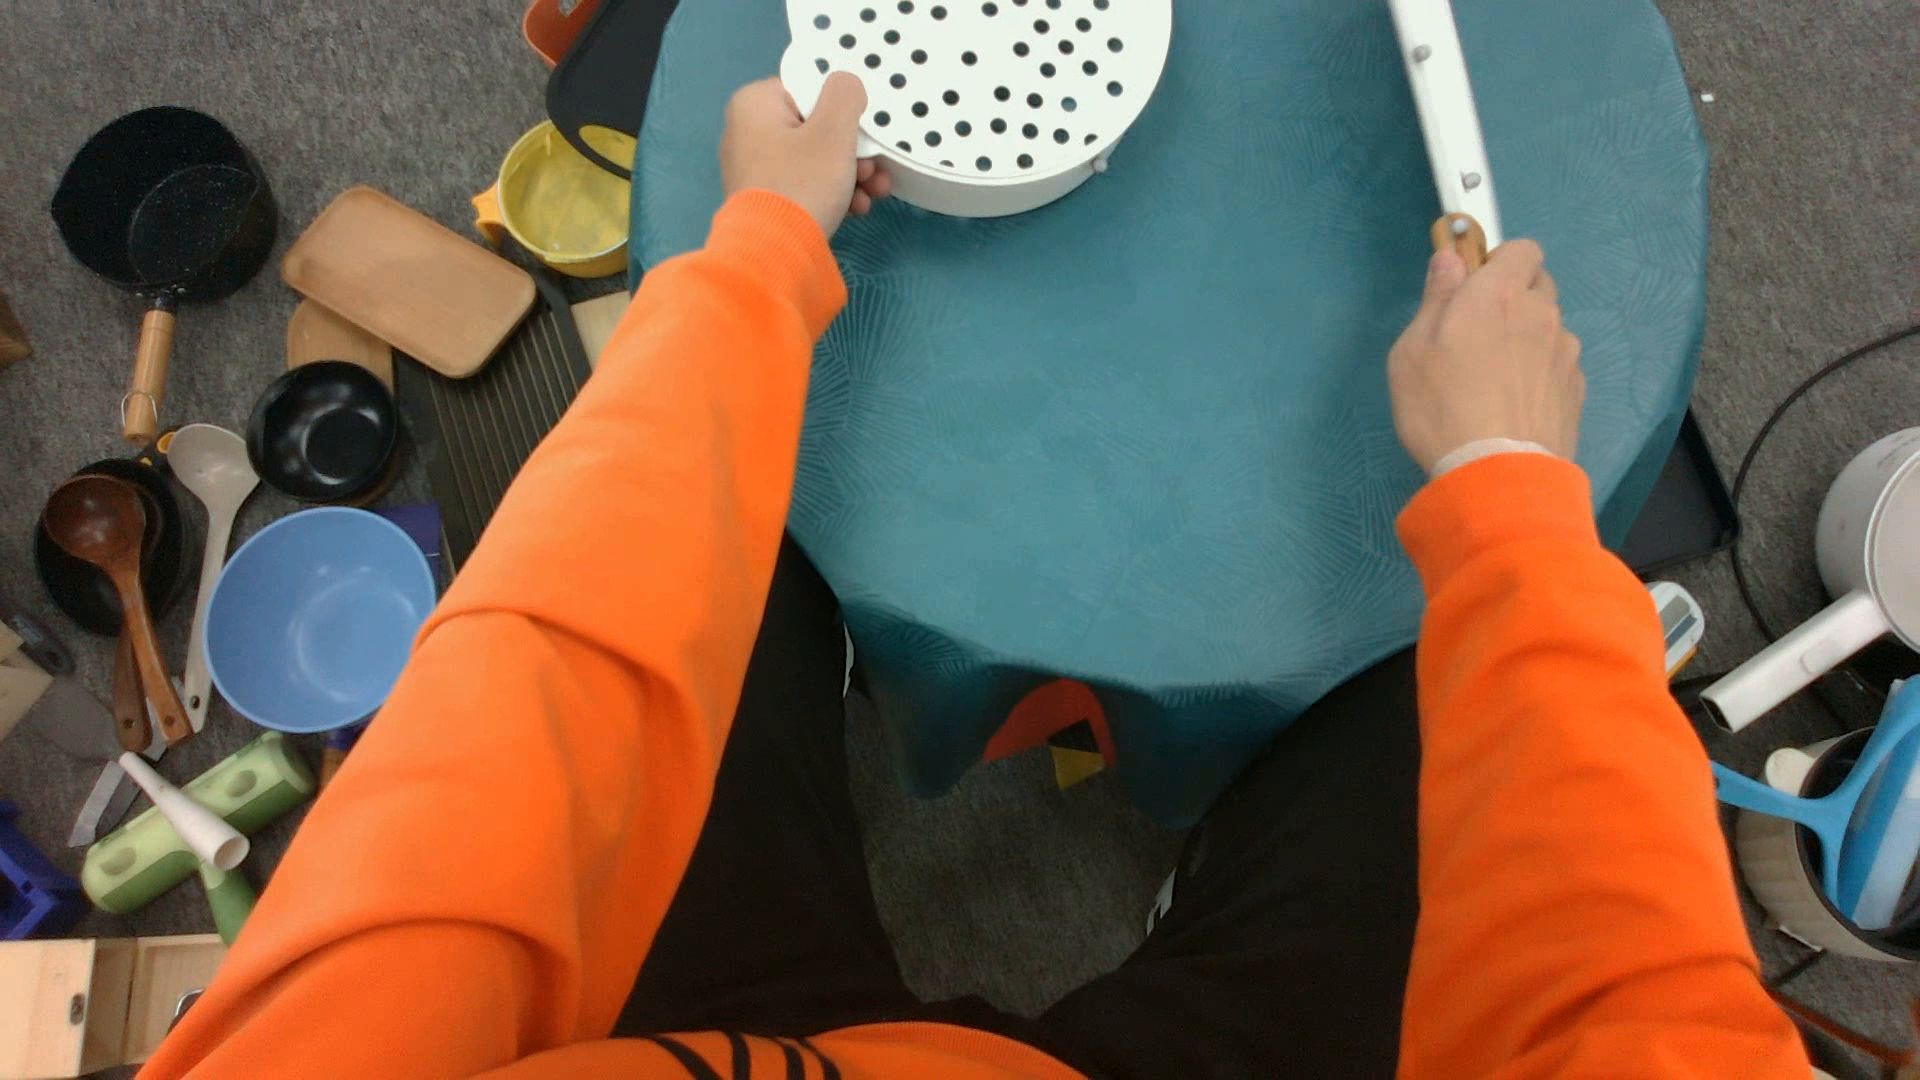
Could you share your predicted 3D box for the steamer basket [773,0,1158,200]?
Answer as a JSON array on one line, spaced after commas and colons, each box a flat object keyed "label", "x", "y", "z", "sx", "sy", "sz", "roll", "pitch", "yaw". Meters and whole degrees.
[{"label": "steamer basket", "x": 0.002, "y": -0.284, "z": 0.741, "sx": 0.231, "sy": 0.069, "sz": 0.202, "roll": -38, "pitch": 91, "yaw": -13}]

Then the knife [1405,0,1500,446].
[{"label": "knife", "x": 0.250, "y": -0.193, "z": 0.720, "sx": 0.021, "sy": 0.093, "sz": 0.306, "roll": -9, "pitch": 79, "yaw": 23}]
